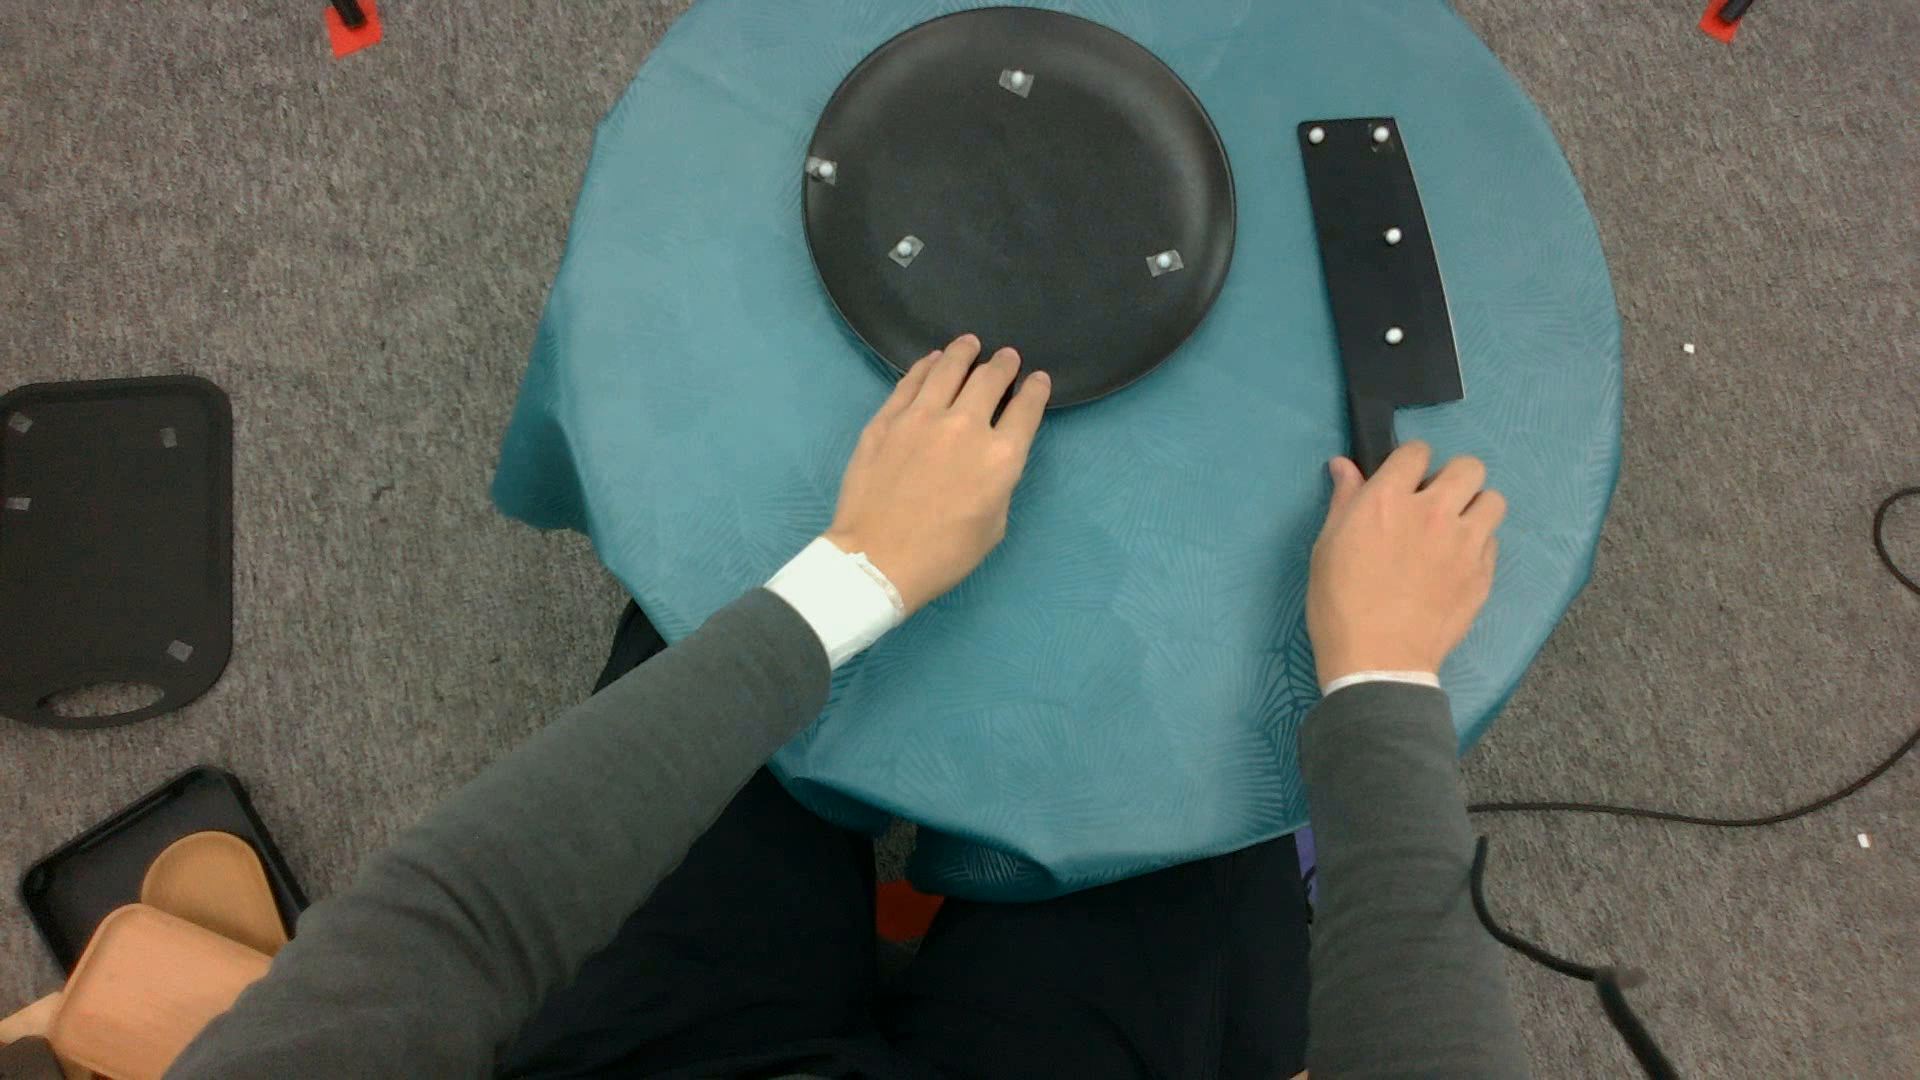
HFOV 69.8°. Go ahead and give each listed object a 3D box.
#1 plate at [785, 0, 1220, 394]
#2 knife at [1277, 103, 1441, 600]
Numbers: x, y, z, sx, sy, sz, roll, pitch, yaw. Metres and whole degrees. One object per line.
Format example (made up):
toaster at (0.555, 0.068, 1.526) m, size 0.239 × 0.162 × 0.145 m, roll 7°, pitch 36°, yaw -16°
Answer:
plate at (0.024, -0.194, 0.773) m, size 0.244 × 0.023 × 0.245 m, roll 1°, pitch 76°, yaw -5°
knife at (0.232, -0.114, 0.775) m, size 0.081 × 0.021 × 0.303 m, roll -1°, pitch 74°, yaw -6°
